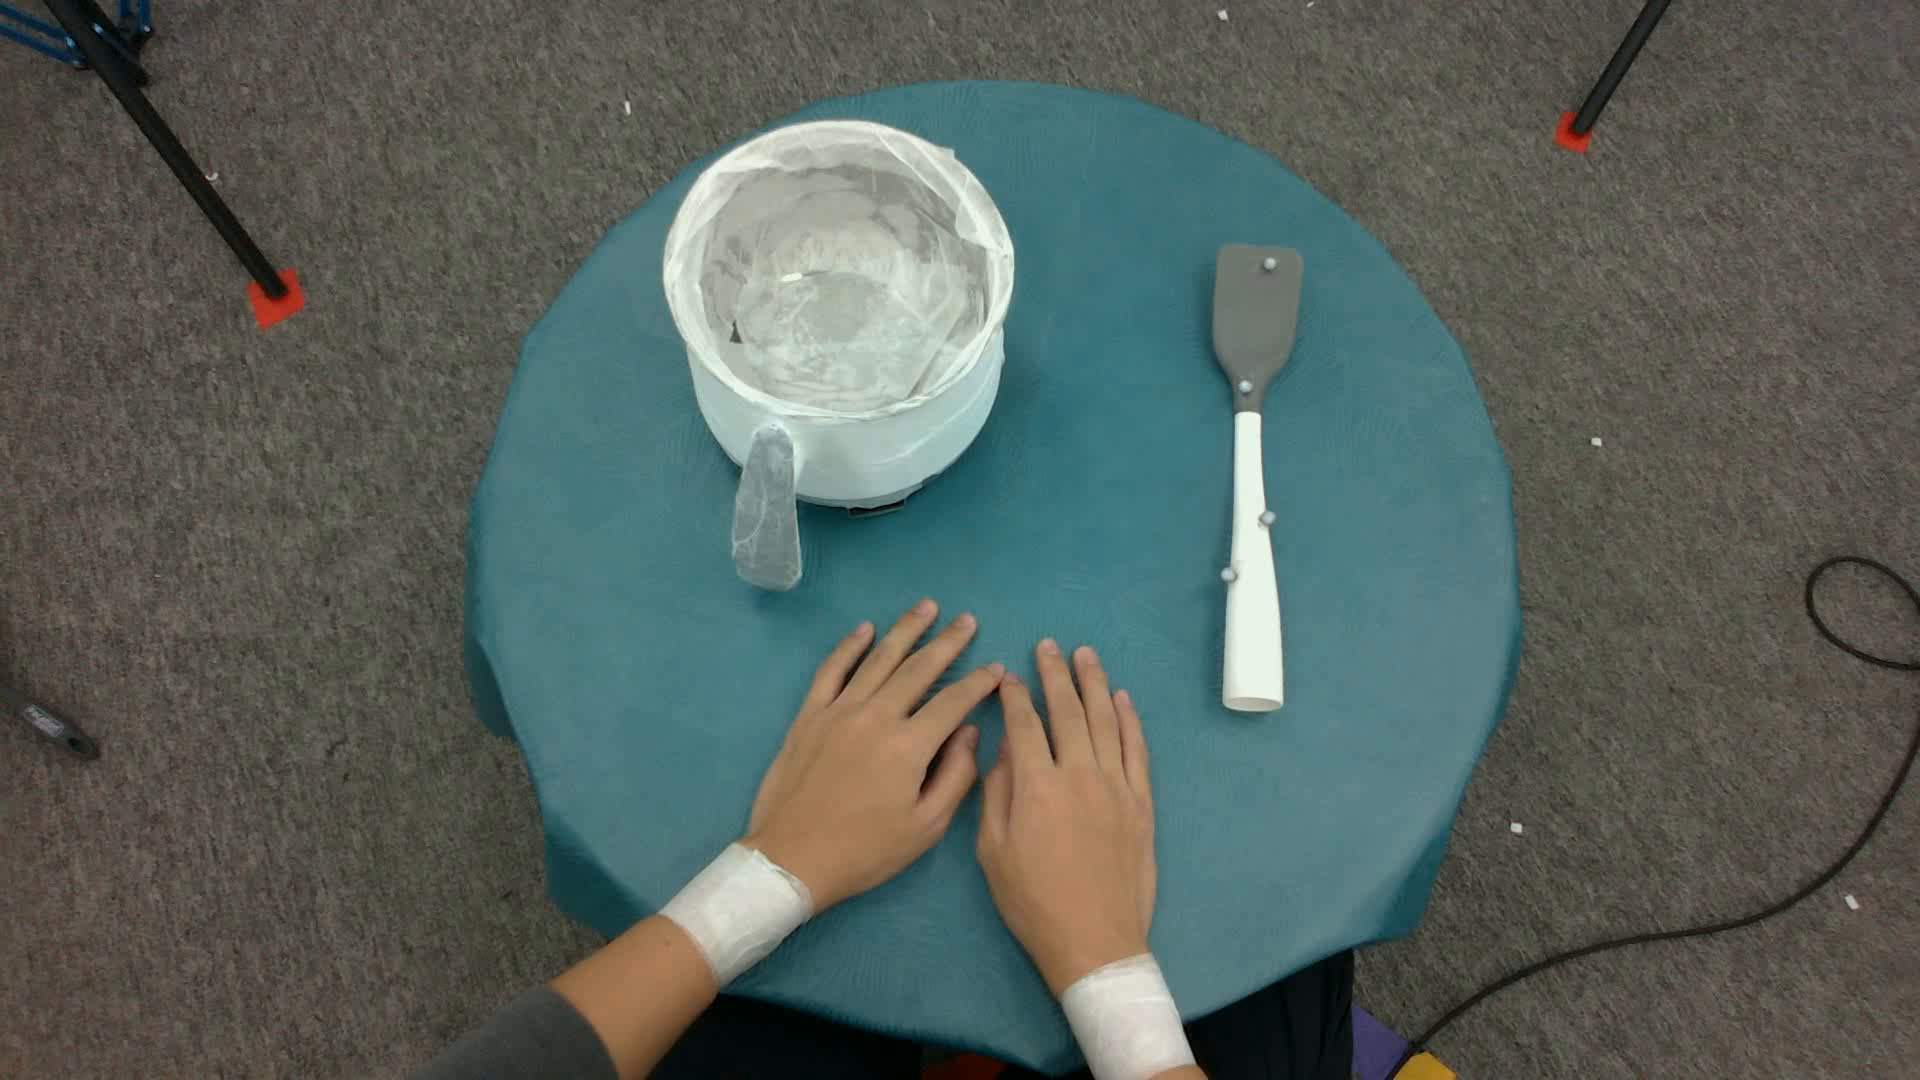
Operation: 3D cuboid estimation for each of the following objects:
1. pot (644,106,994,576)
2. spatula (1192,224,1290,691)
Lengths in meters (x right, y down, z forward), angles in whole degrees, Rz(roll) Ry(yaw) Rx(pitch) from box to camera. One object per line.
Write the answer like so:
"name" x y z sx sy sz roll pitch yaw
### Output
"pot" -0.081 -0.100 0.747 0.178 0.136 0.234 15 69 3
"spatula" 0.162 -0.055 0.800 0.058 0.032 0.288 4 69 2
